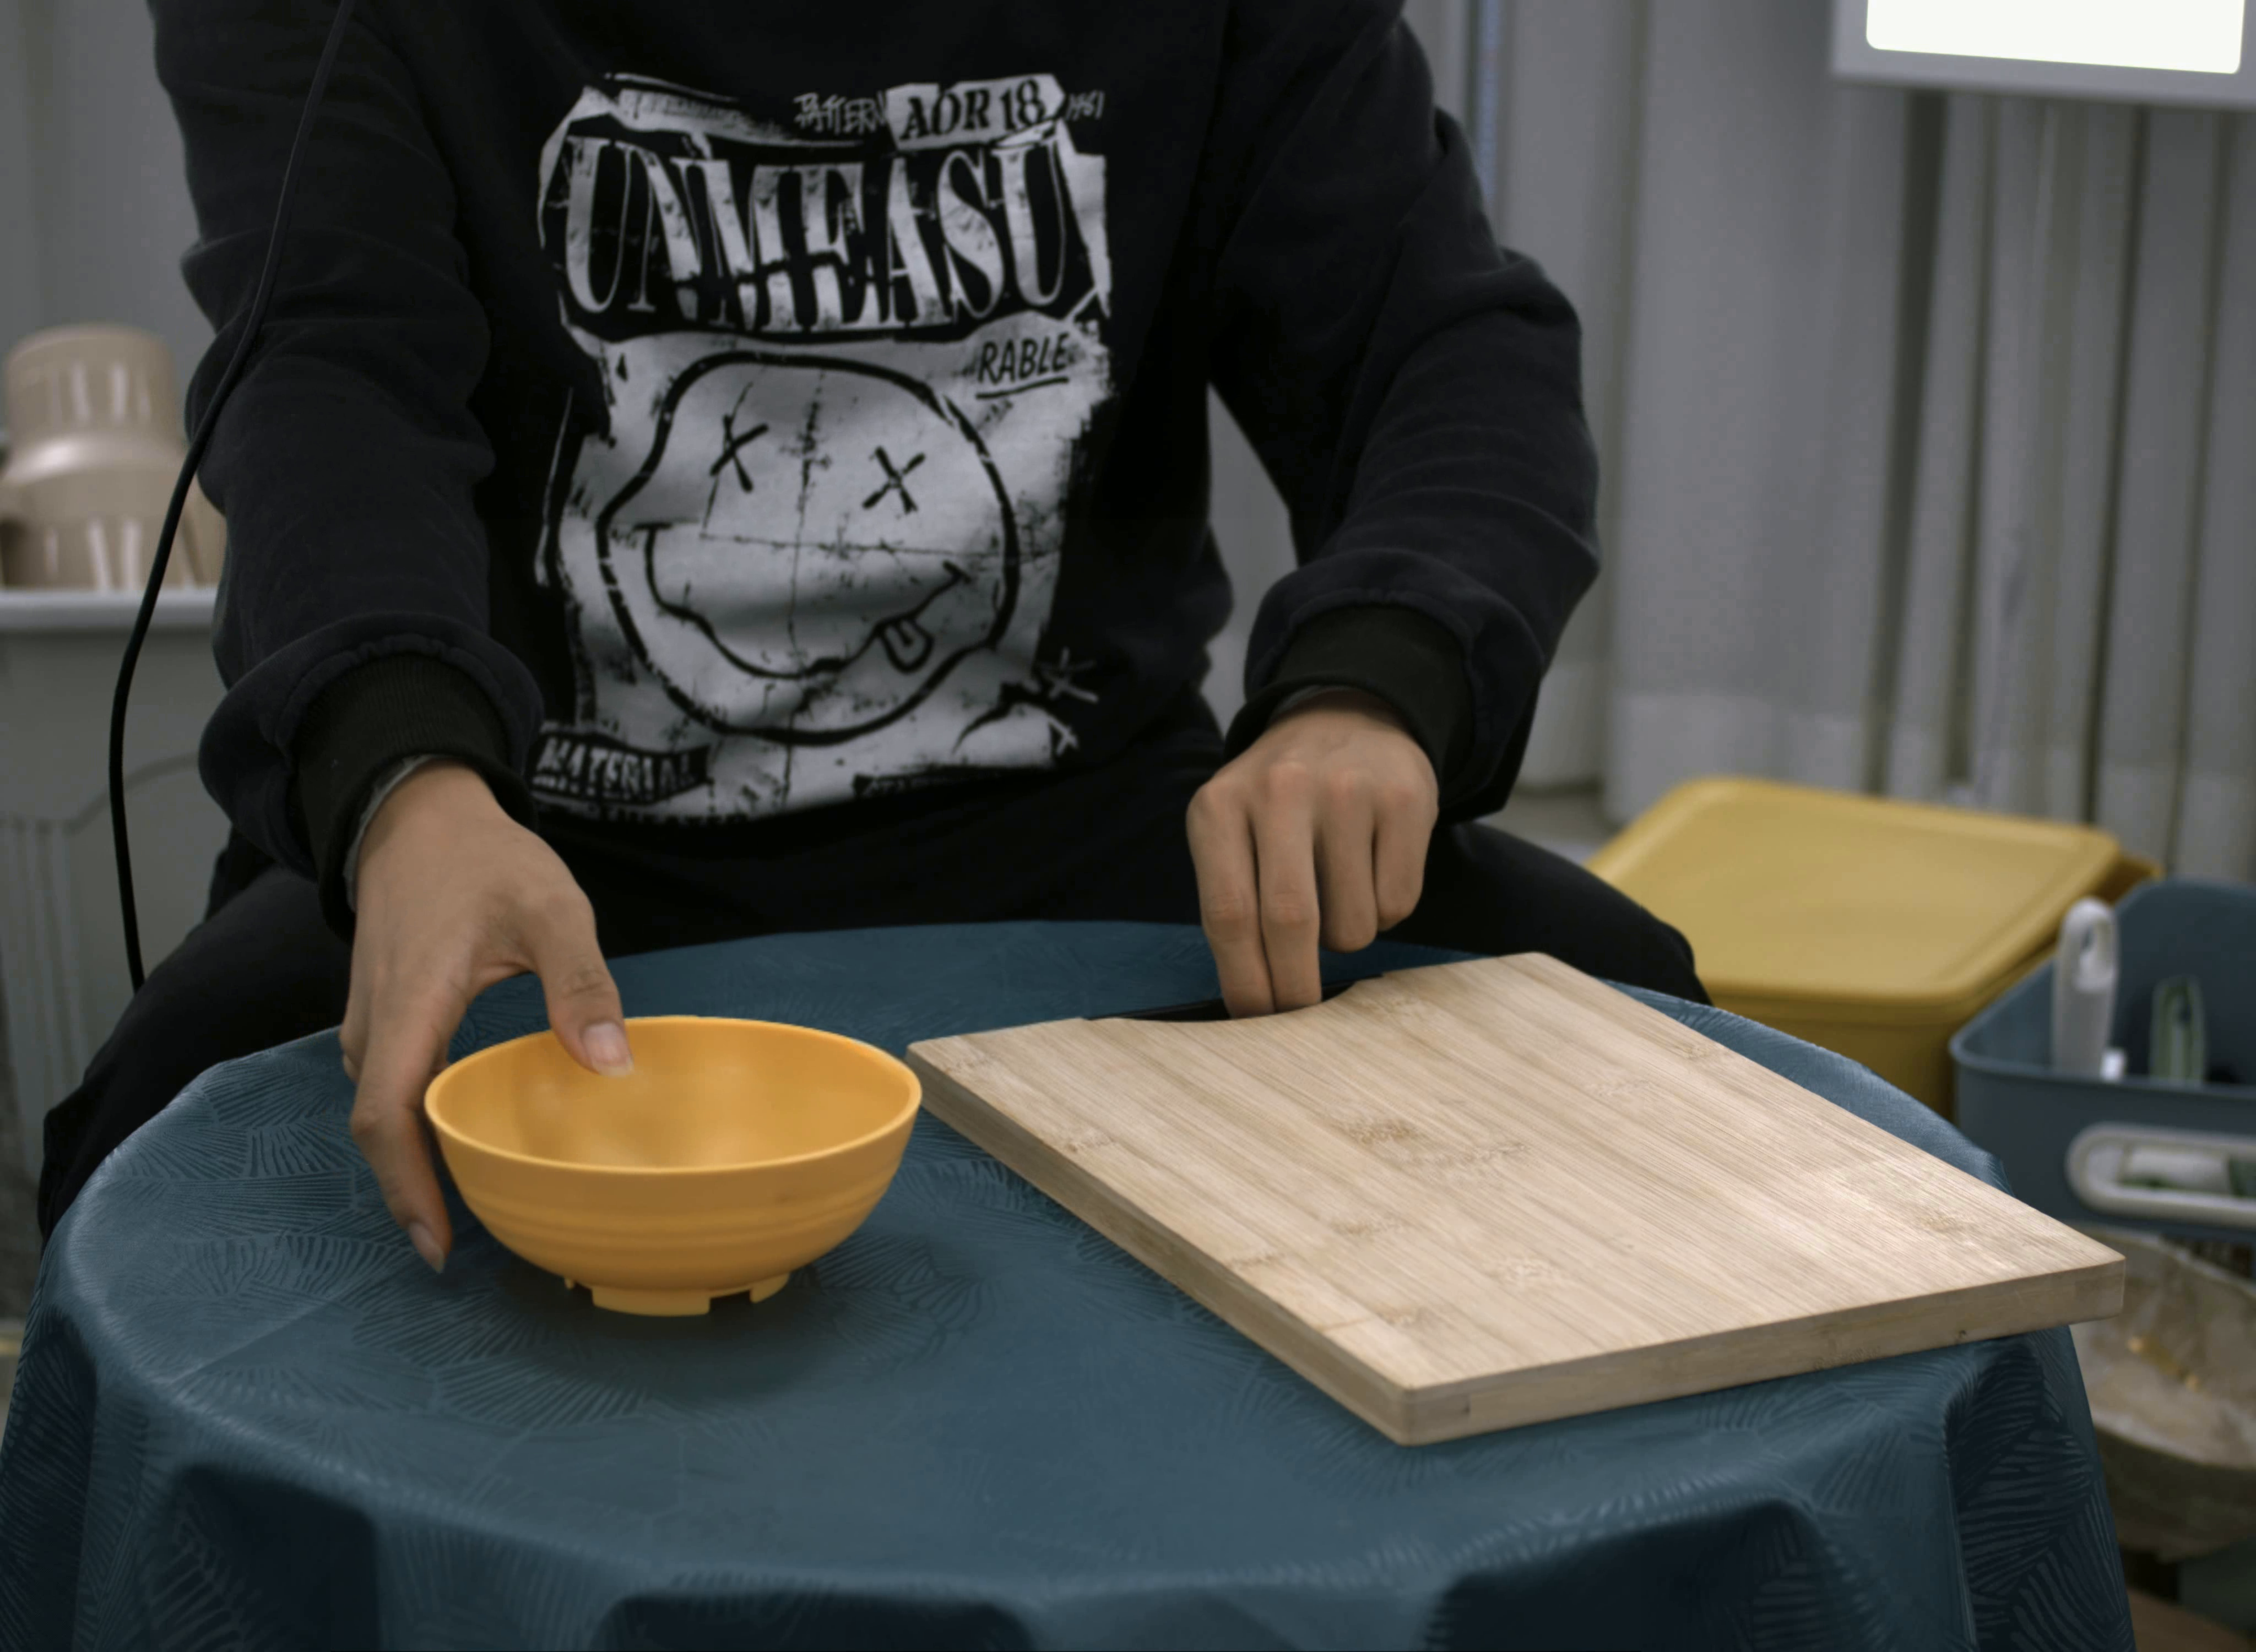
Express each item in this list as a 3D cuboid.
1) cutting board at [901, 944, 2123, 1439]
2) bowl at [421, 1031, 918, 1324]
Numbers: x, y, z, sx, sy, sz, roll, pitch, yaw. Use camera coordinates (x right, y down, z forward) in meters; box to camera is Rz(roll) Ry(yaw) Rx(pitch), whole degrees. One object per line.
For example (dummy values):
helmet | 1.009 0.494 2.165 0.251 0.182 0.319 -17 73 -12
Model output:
cutting board | 0.107 0.106 1.626 0.252 0.024 0.344 -7 18 -26
bowl | -0.134 0.107 1.539 0.145 0.060 0.144 2 14 0
